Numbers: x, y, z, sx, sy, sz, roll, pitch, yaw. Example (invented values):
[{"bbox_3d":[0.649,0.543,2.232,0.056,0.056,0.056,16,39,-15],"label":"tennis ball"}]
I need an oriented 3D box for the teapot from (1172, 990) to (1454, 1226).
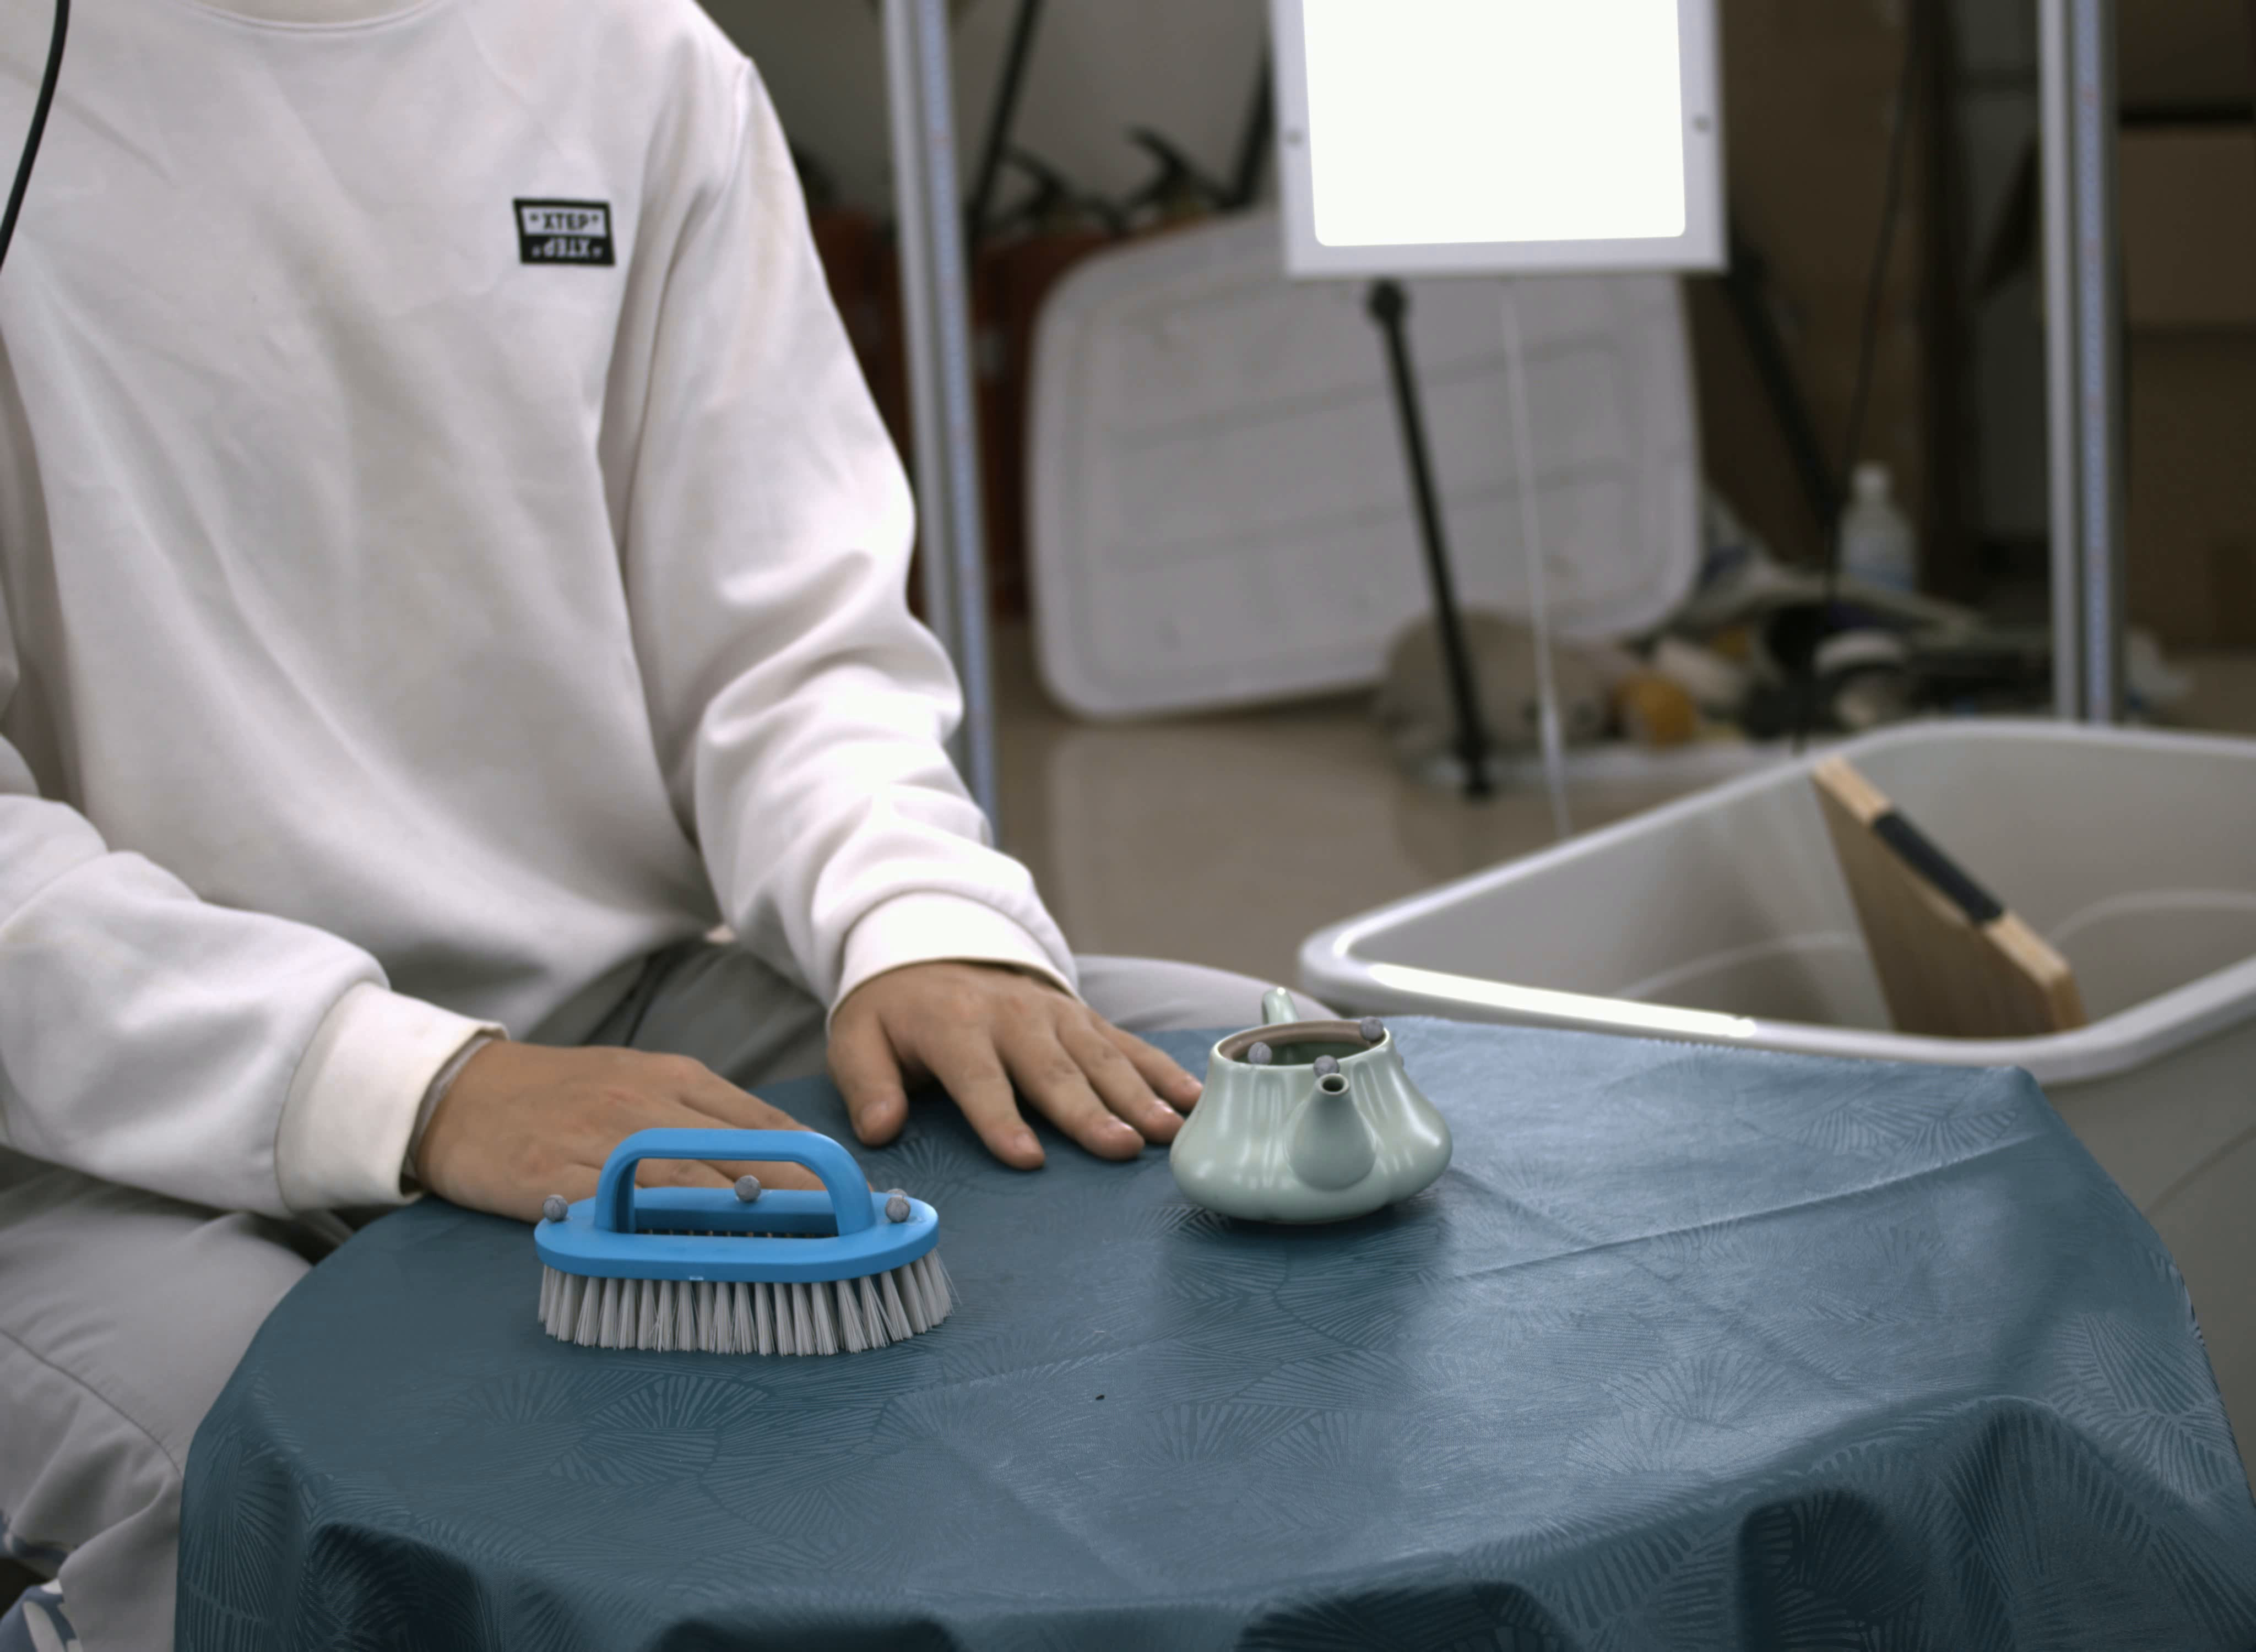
[{"bbox_3d":[0.061,0.098,1.869,0.095,0.061,0.137,-9,14,-8],"label":"teapot"}]

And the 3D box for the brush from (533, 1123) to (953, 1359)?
[{"bbox_3d":[-0.129,0.129,1.799,0.144,0.064,0.083,0,19,22],"label":"brush"}]
